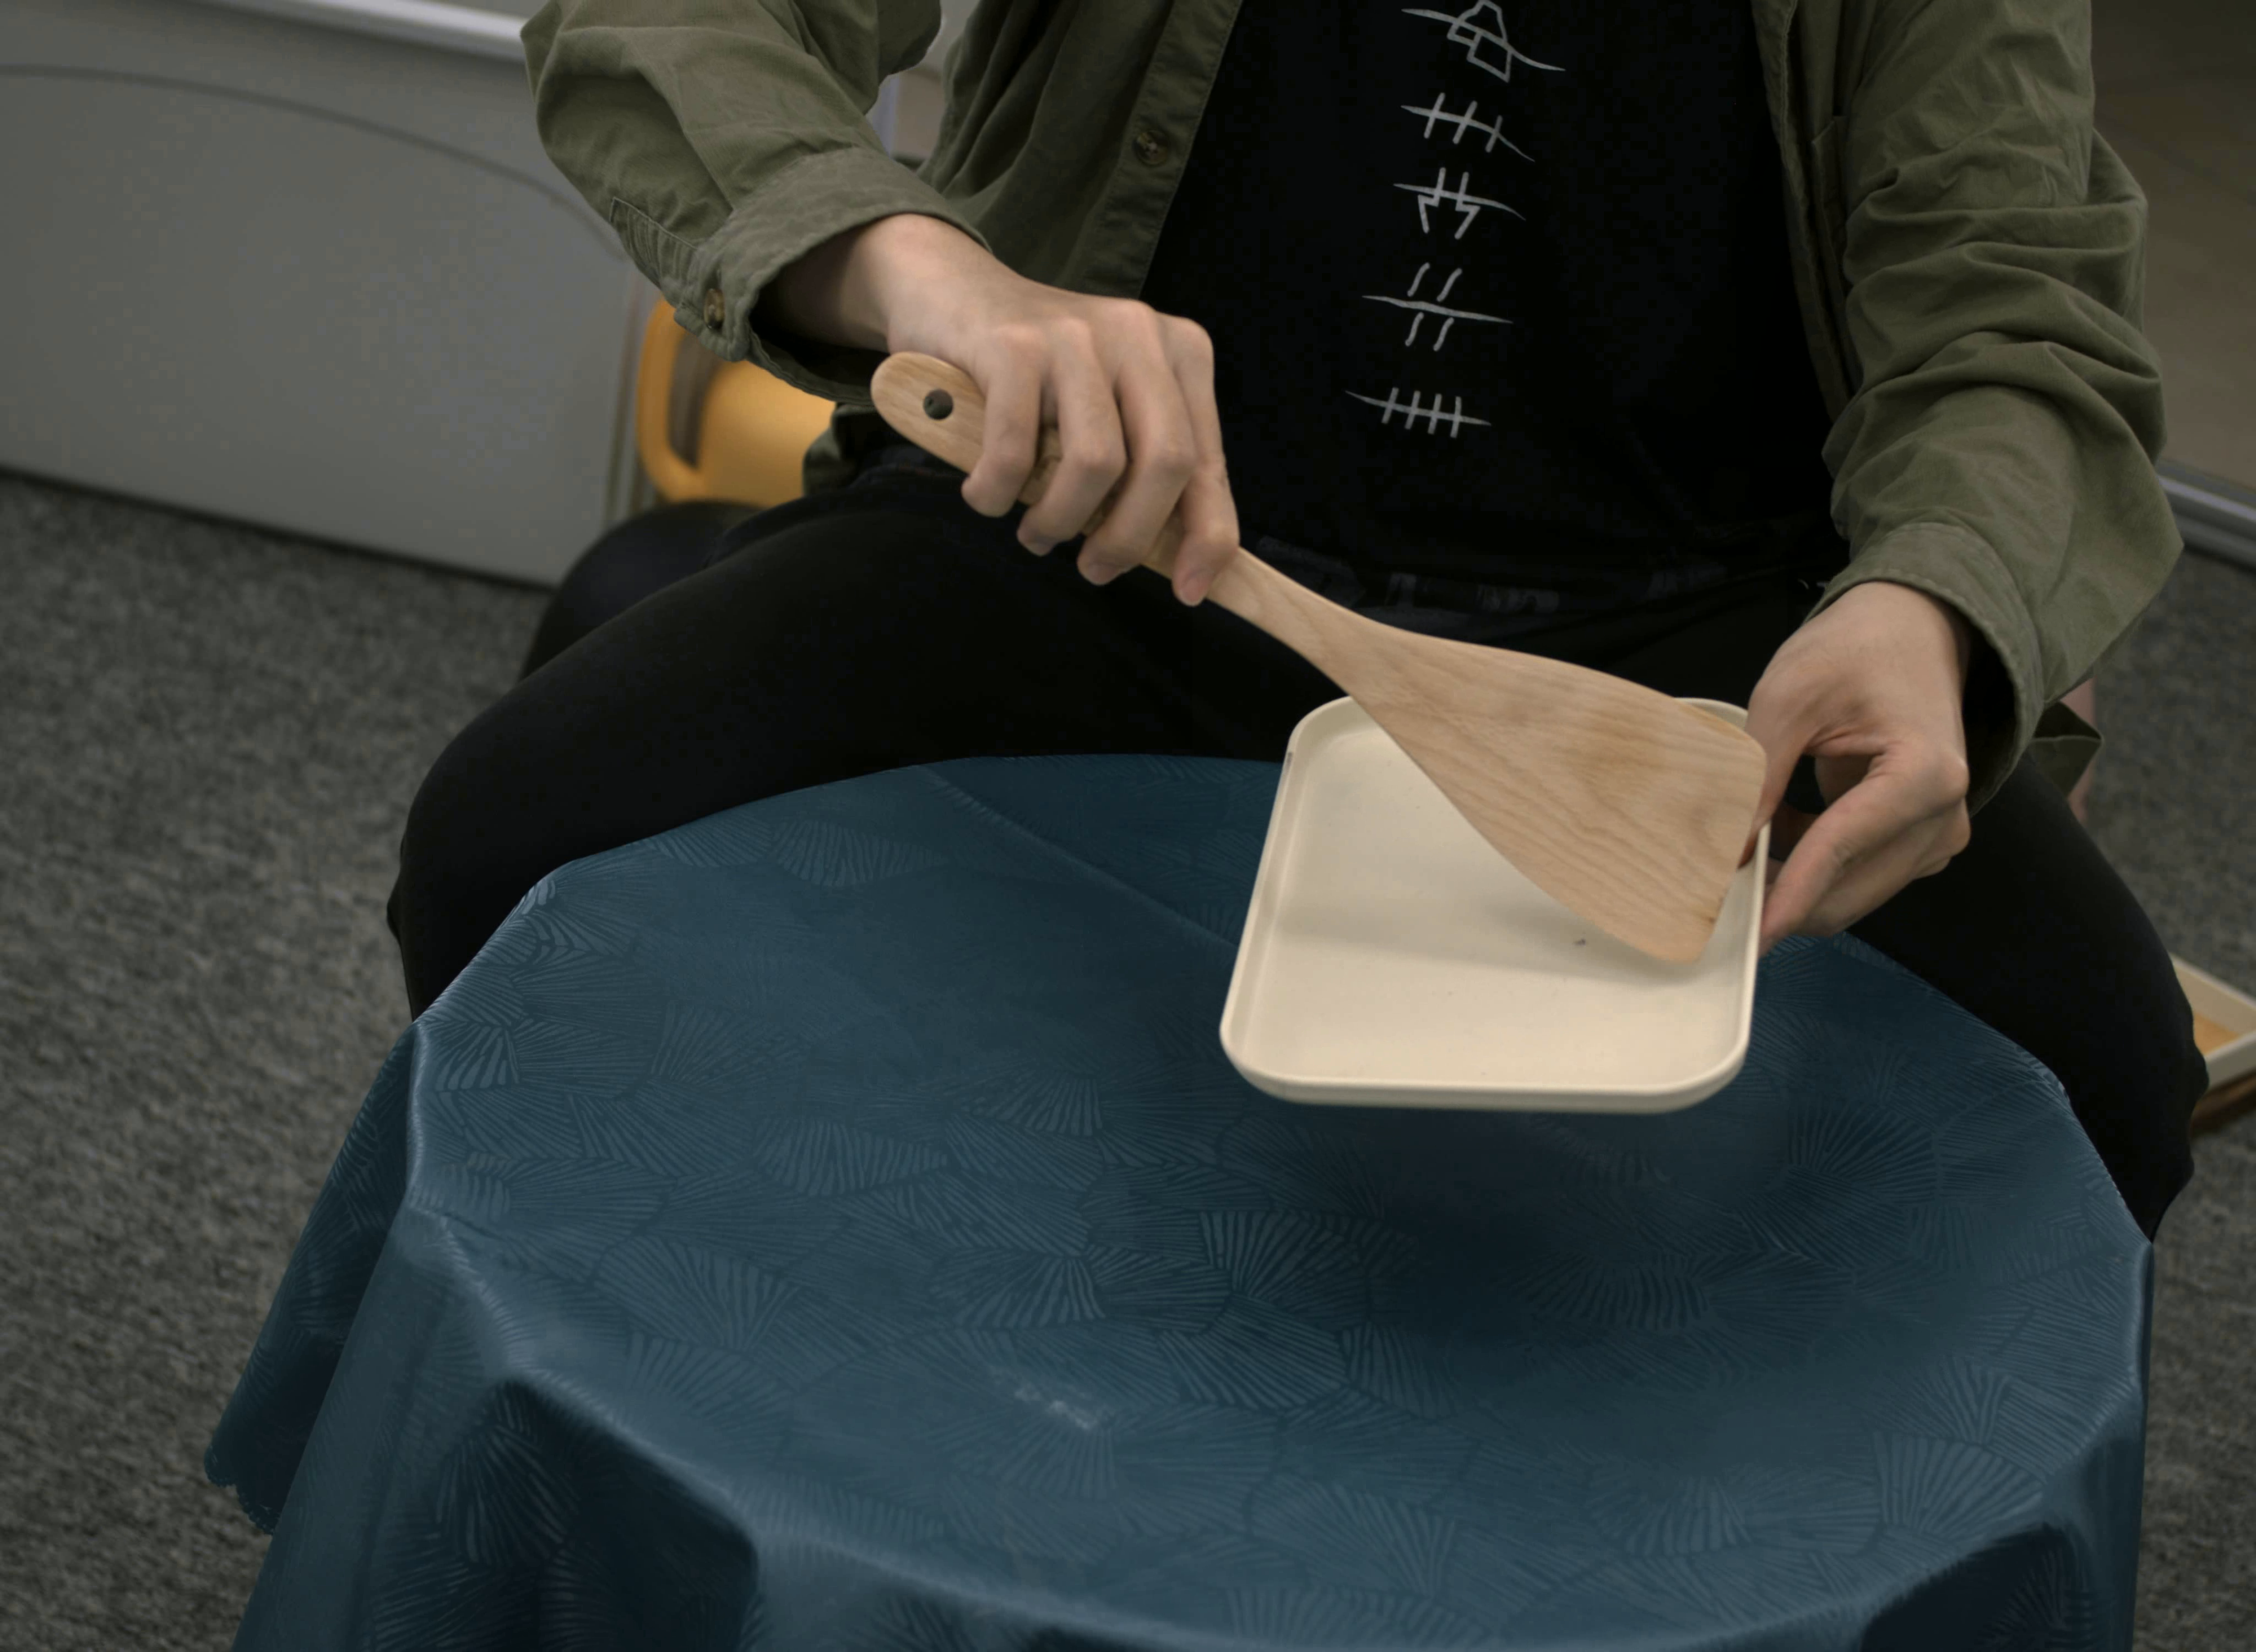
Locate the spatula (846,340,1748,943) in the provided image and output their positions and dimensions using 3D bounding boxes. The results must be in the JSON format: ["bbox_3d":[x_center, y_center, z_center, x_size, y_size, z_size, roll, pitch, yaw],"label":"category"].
[{"bbox_3d":[0.053,-0.072,1.727,0.327,0.080,0.016,29,2,-2],"label":"spatula"}]

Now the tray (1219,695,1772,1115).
[{"bbox_3d":[0.125,0.025,1.771,0.171,0.017,0.241,2,32,10],"label":"tray"}]
